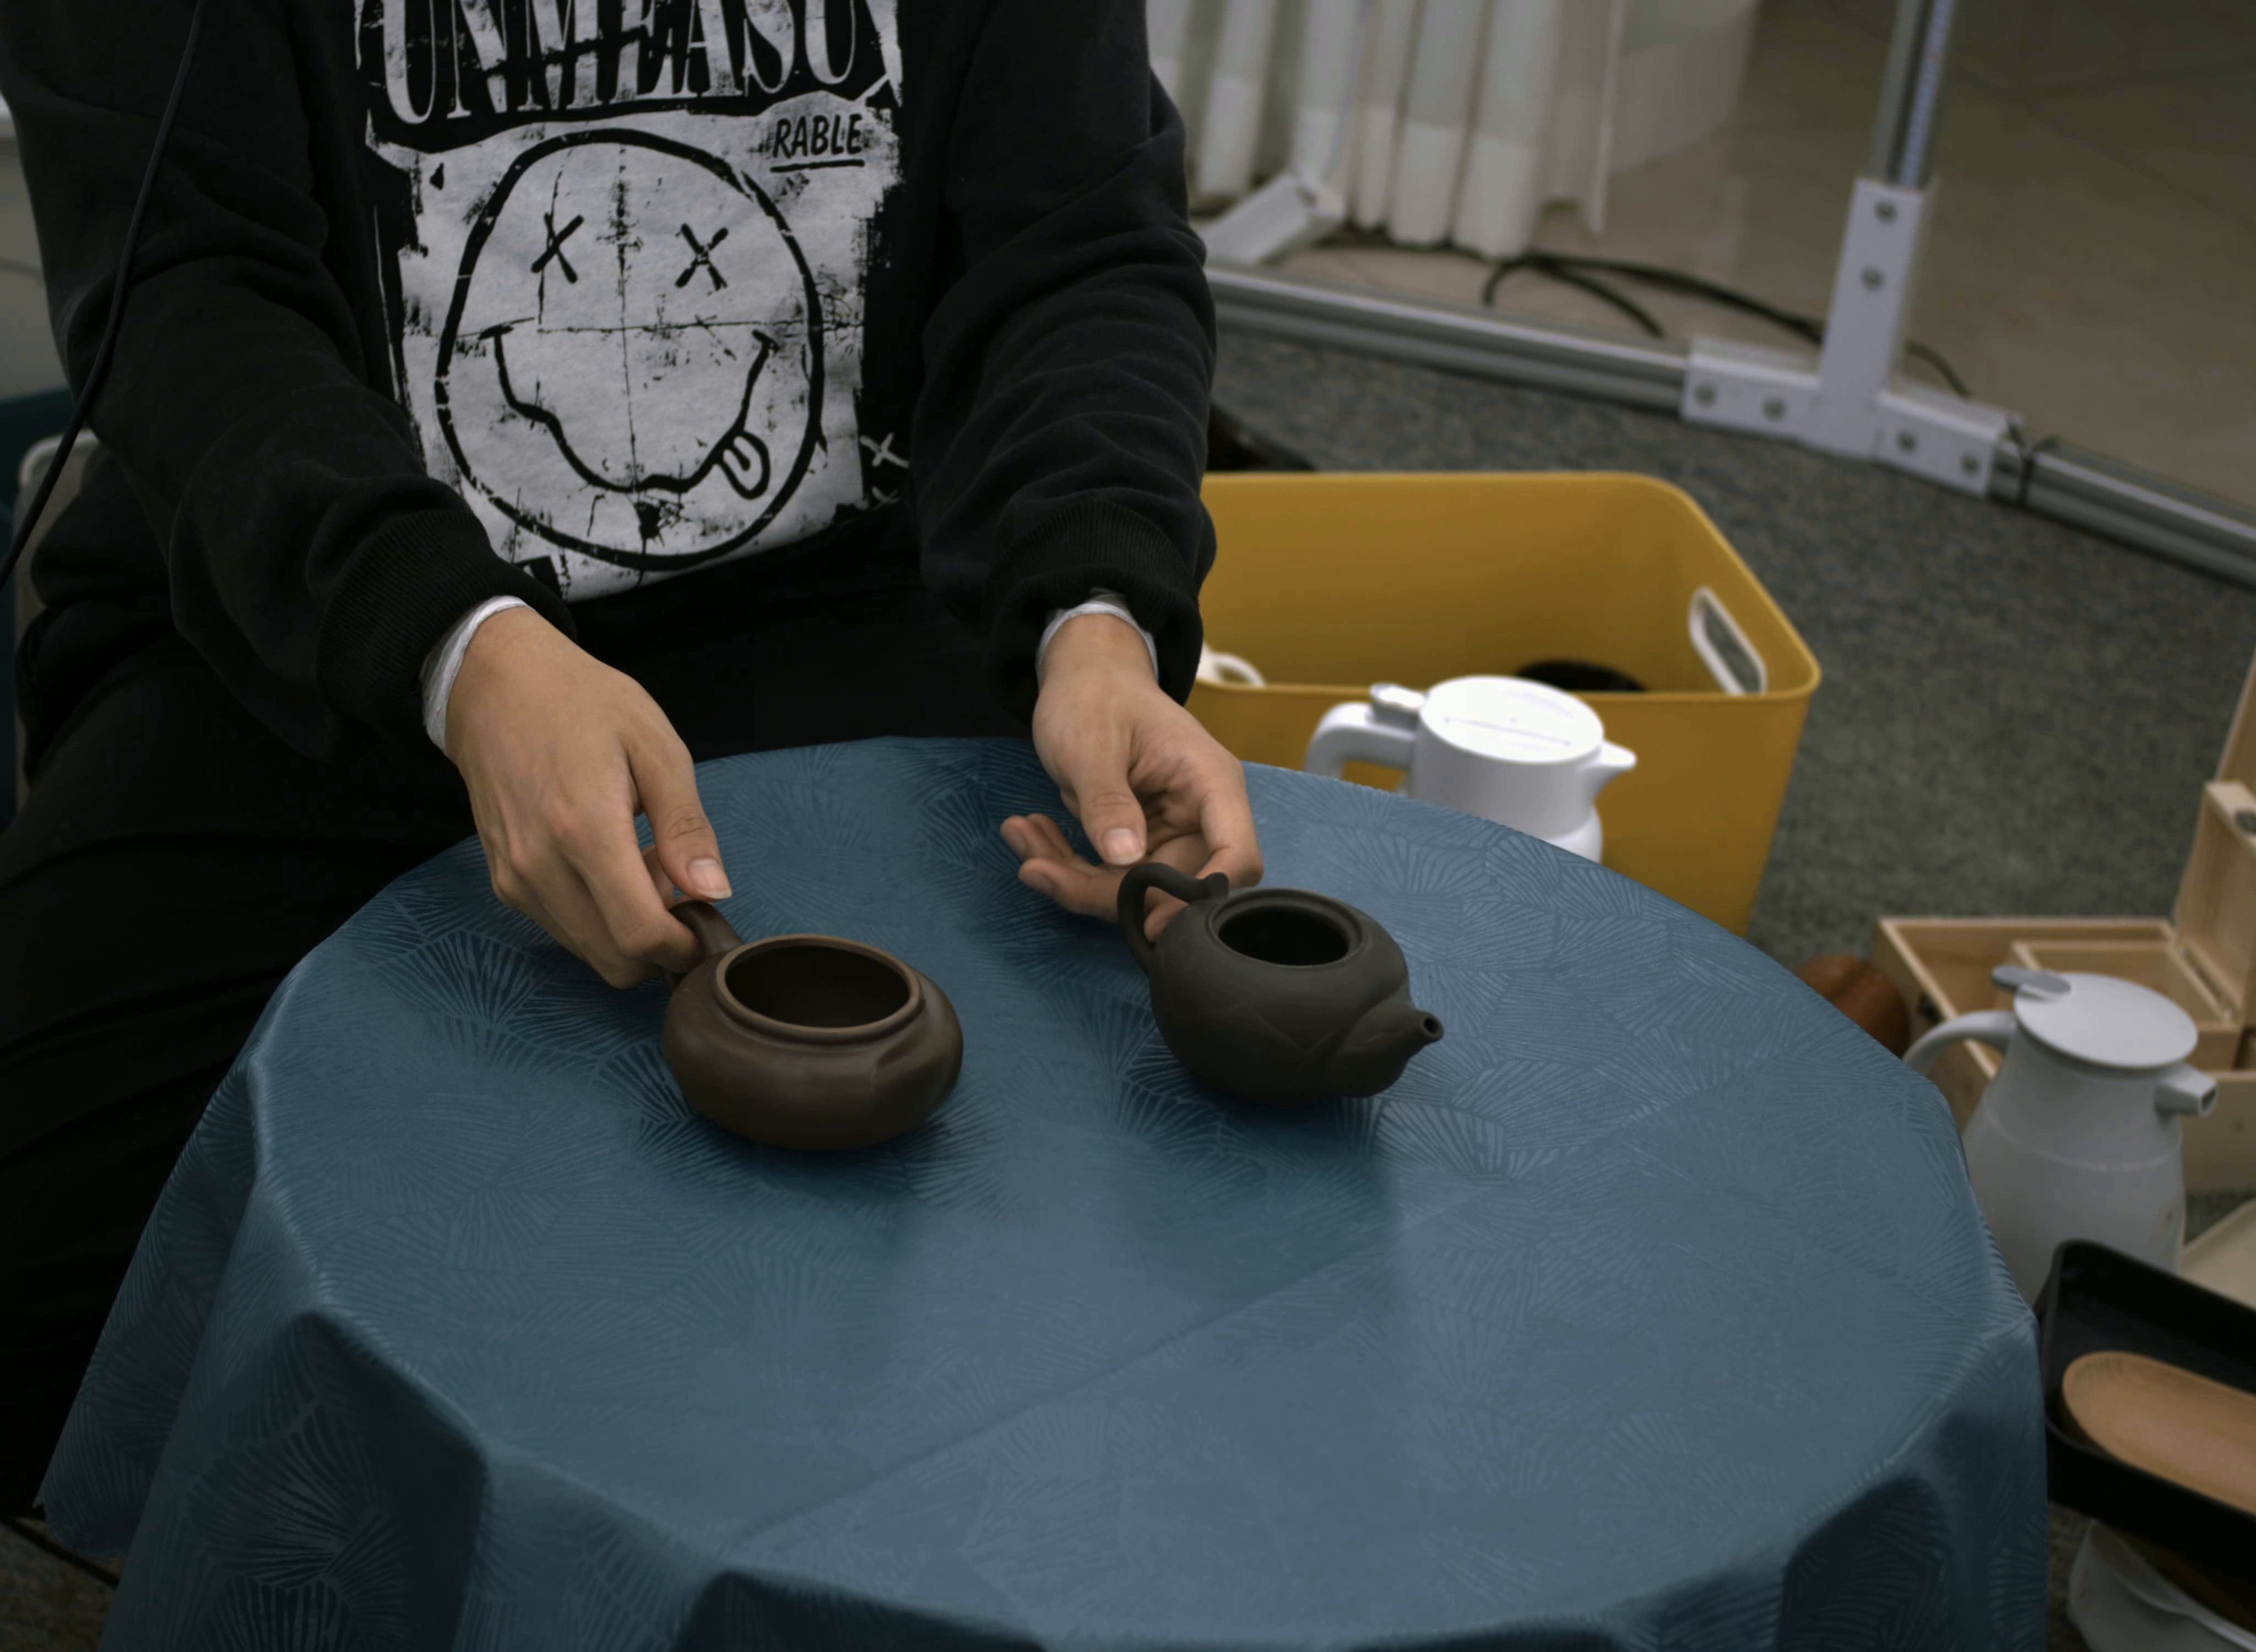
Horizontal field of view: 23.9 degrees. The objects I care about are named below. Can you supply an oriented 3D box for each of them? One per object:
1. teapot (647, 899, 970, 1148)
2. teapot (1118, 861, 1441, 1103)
[{"bbox_3d":[-0.112,0.070,1.825,0.154,0.053,0.102,27,31,34],"label":"teapot"},{"bbox_3d":[0.050,0.057,1.877,0.092,0.064,0.155,-17,35,-41],"label":"teapot"}]
